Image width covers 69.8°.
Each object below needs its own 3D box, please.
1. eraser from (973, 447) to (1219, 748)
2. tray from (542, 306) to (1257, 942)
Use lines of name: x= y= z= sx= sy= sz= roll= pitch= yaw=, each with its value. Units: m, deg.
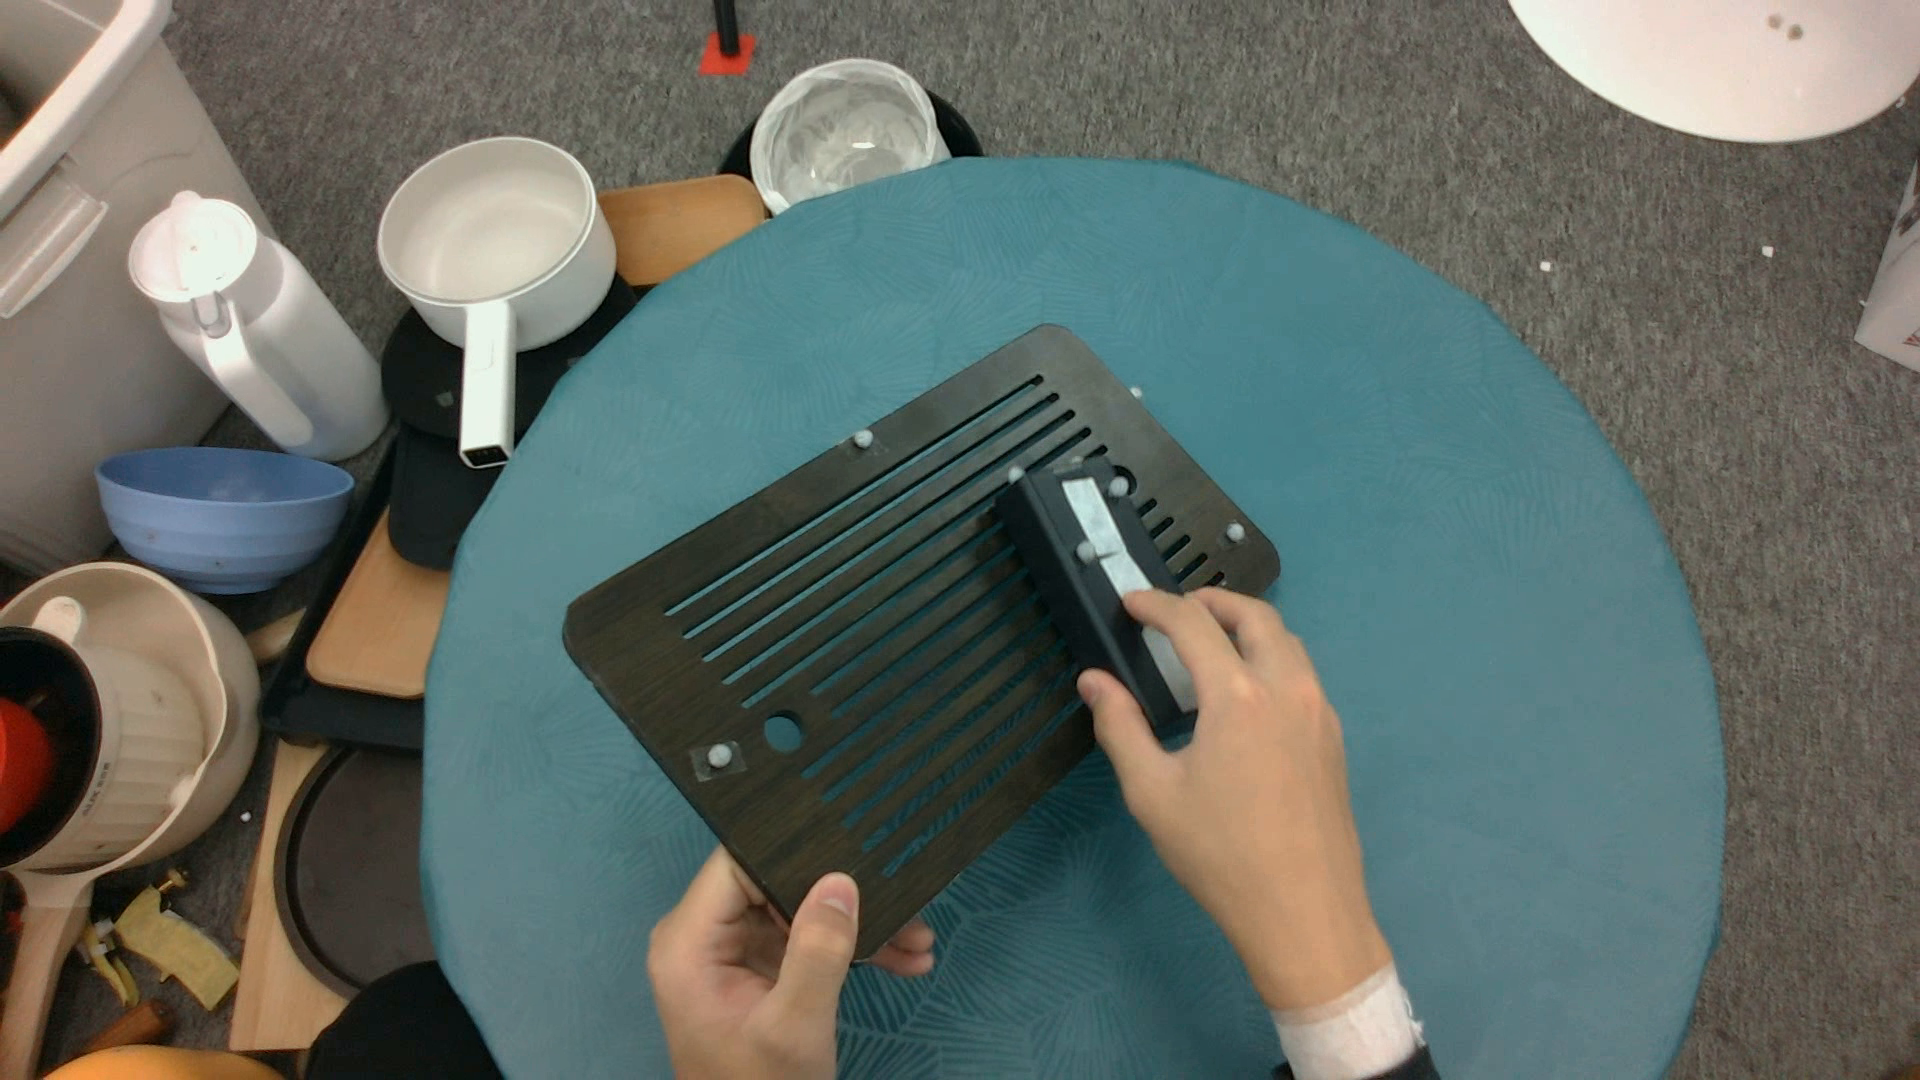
eraser: x=0.056 y=0.023 z=0.587 sx=0.054 sy=0.030 sz=0.125 roll=-18 pitch=71 yaw=-32
tray: x=-0.008 y=0.015 z=0.586 sx=0.170 sy=0.018 sz=0.307 roll=48 pitch=52 yaw=8
